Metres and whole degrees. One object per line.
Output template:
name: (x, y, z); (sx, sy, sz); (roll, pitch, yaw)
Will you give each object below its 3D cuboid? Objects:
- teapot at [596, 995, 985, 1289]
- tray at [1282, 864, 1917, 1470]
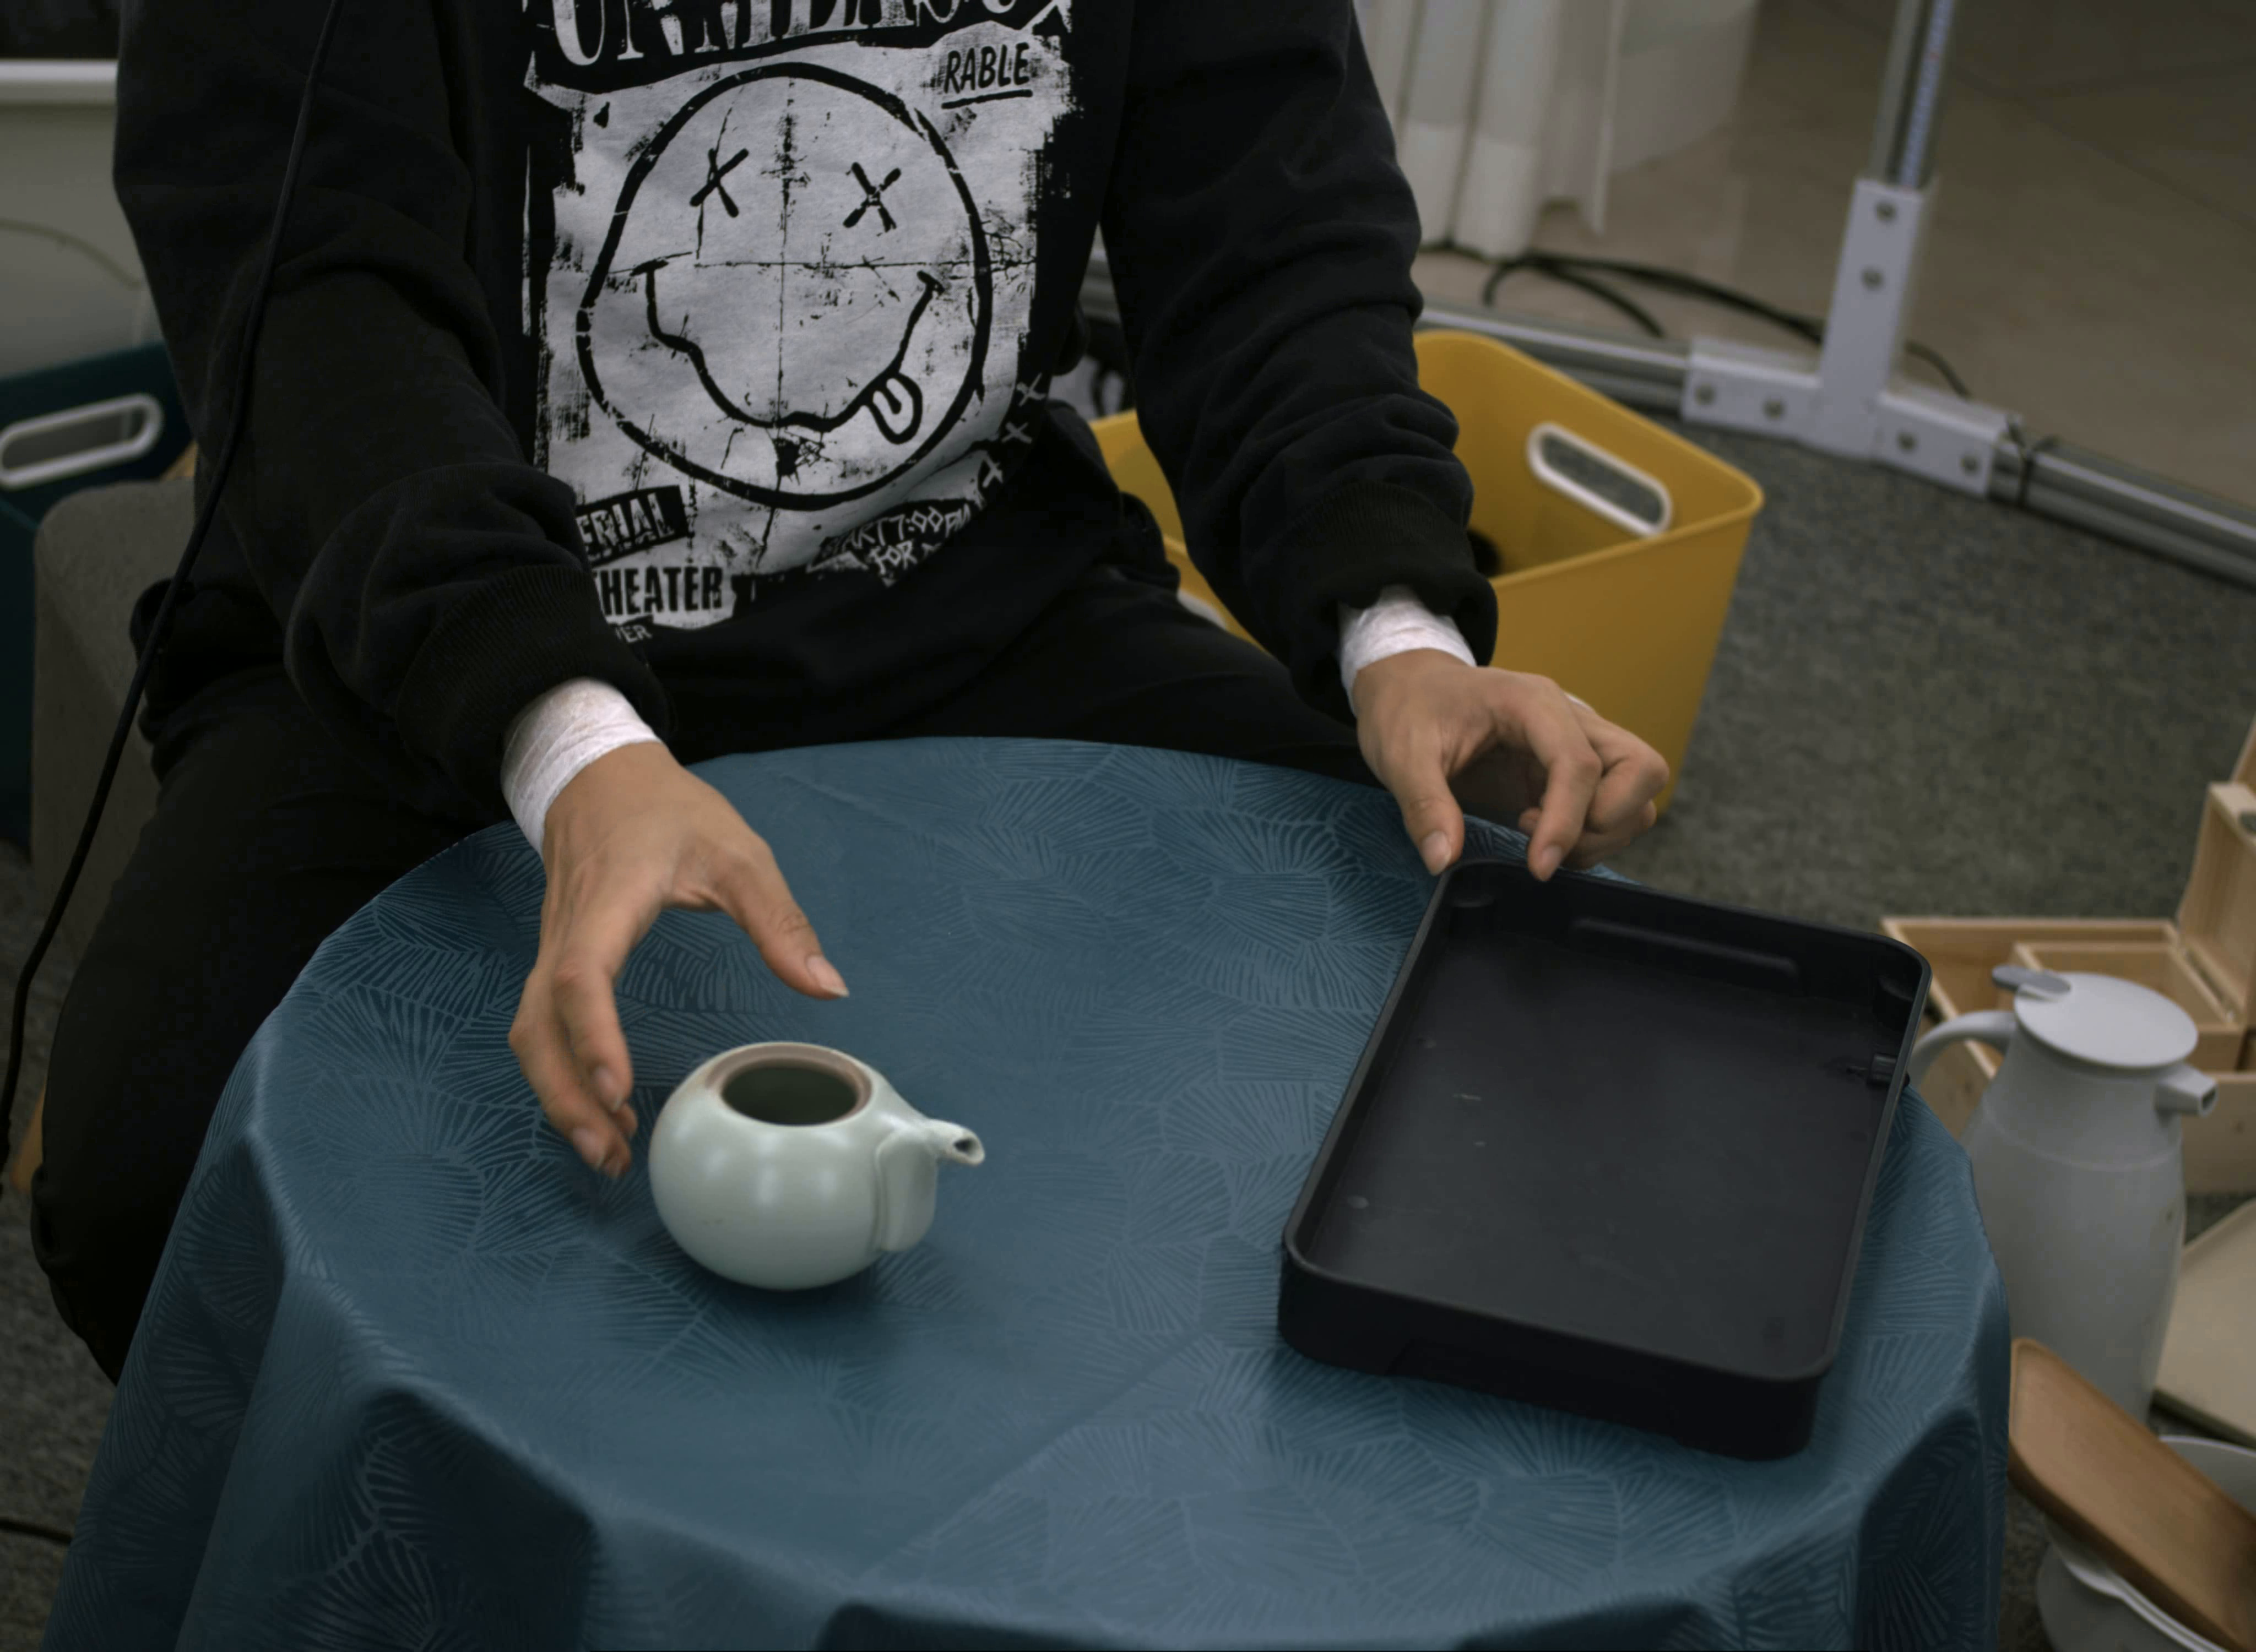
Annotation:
teapot: (-0.112, 0.109, 1.729); (0.144, 0.074, 0.088); (22, 30, 24)
tray: (0.167, 0.110, 1.830); (0.184, 0.037, 0.319); (11, 27, 8)
